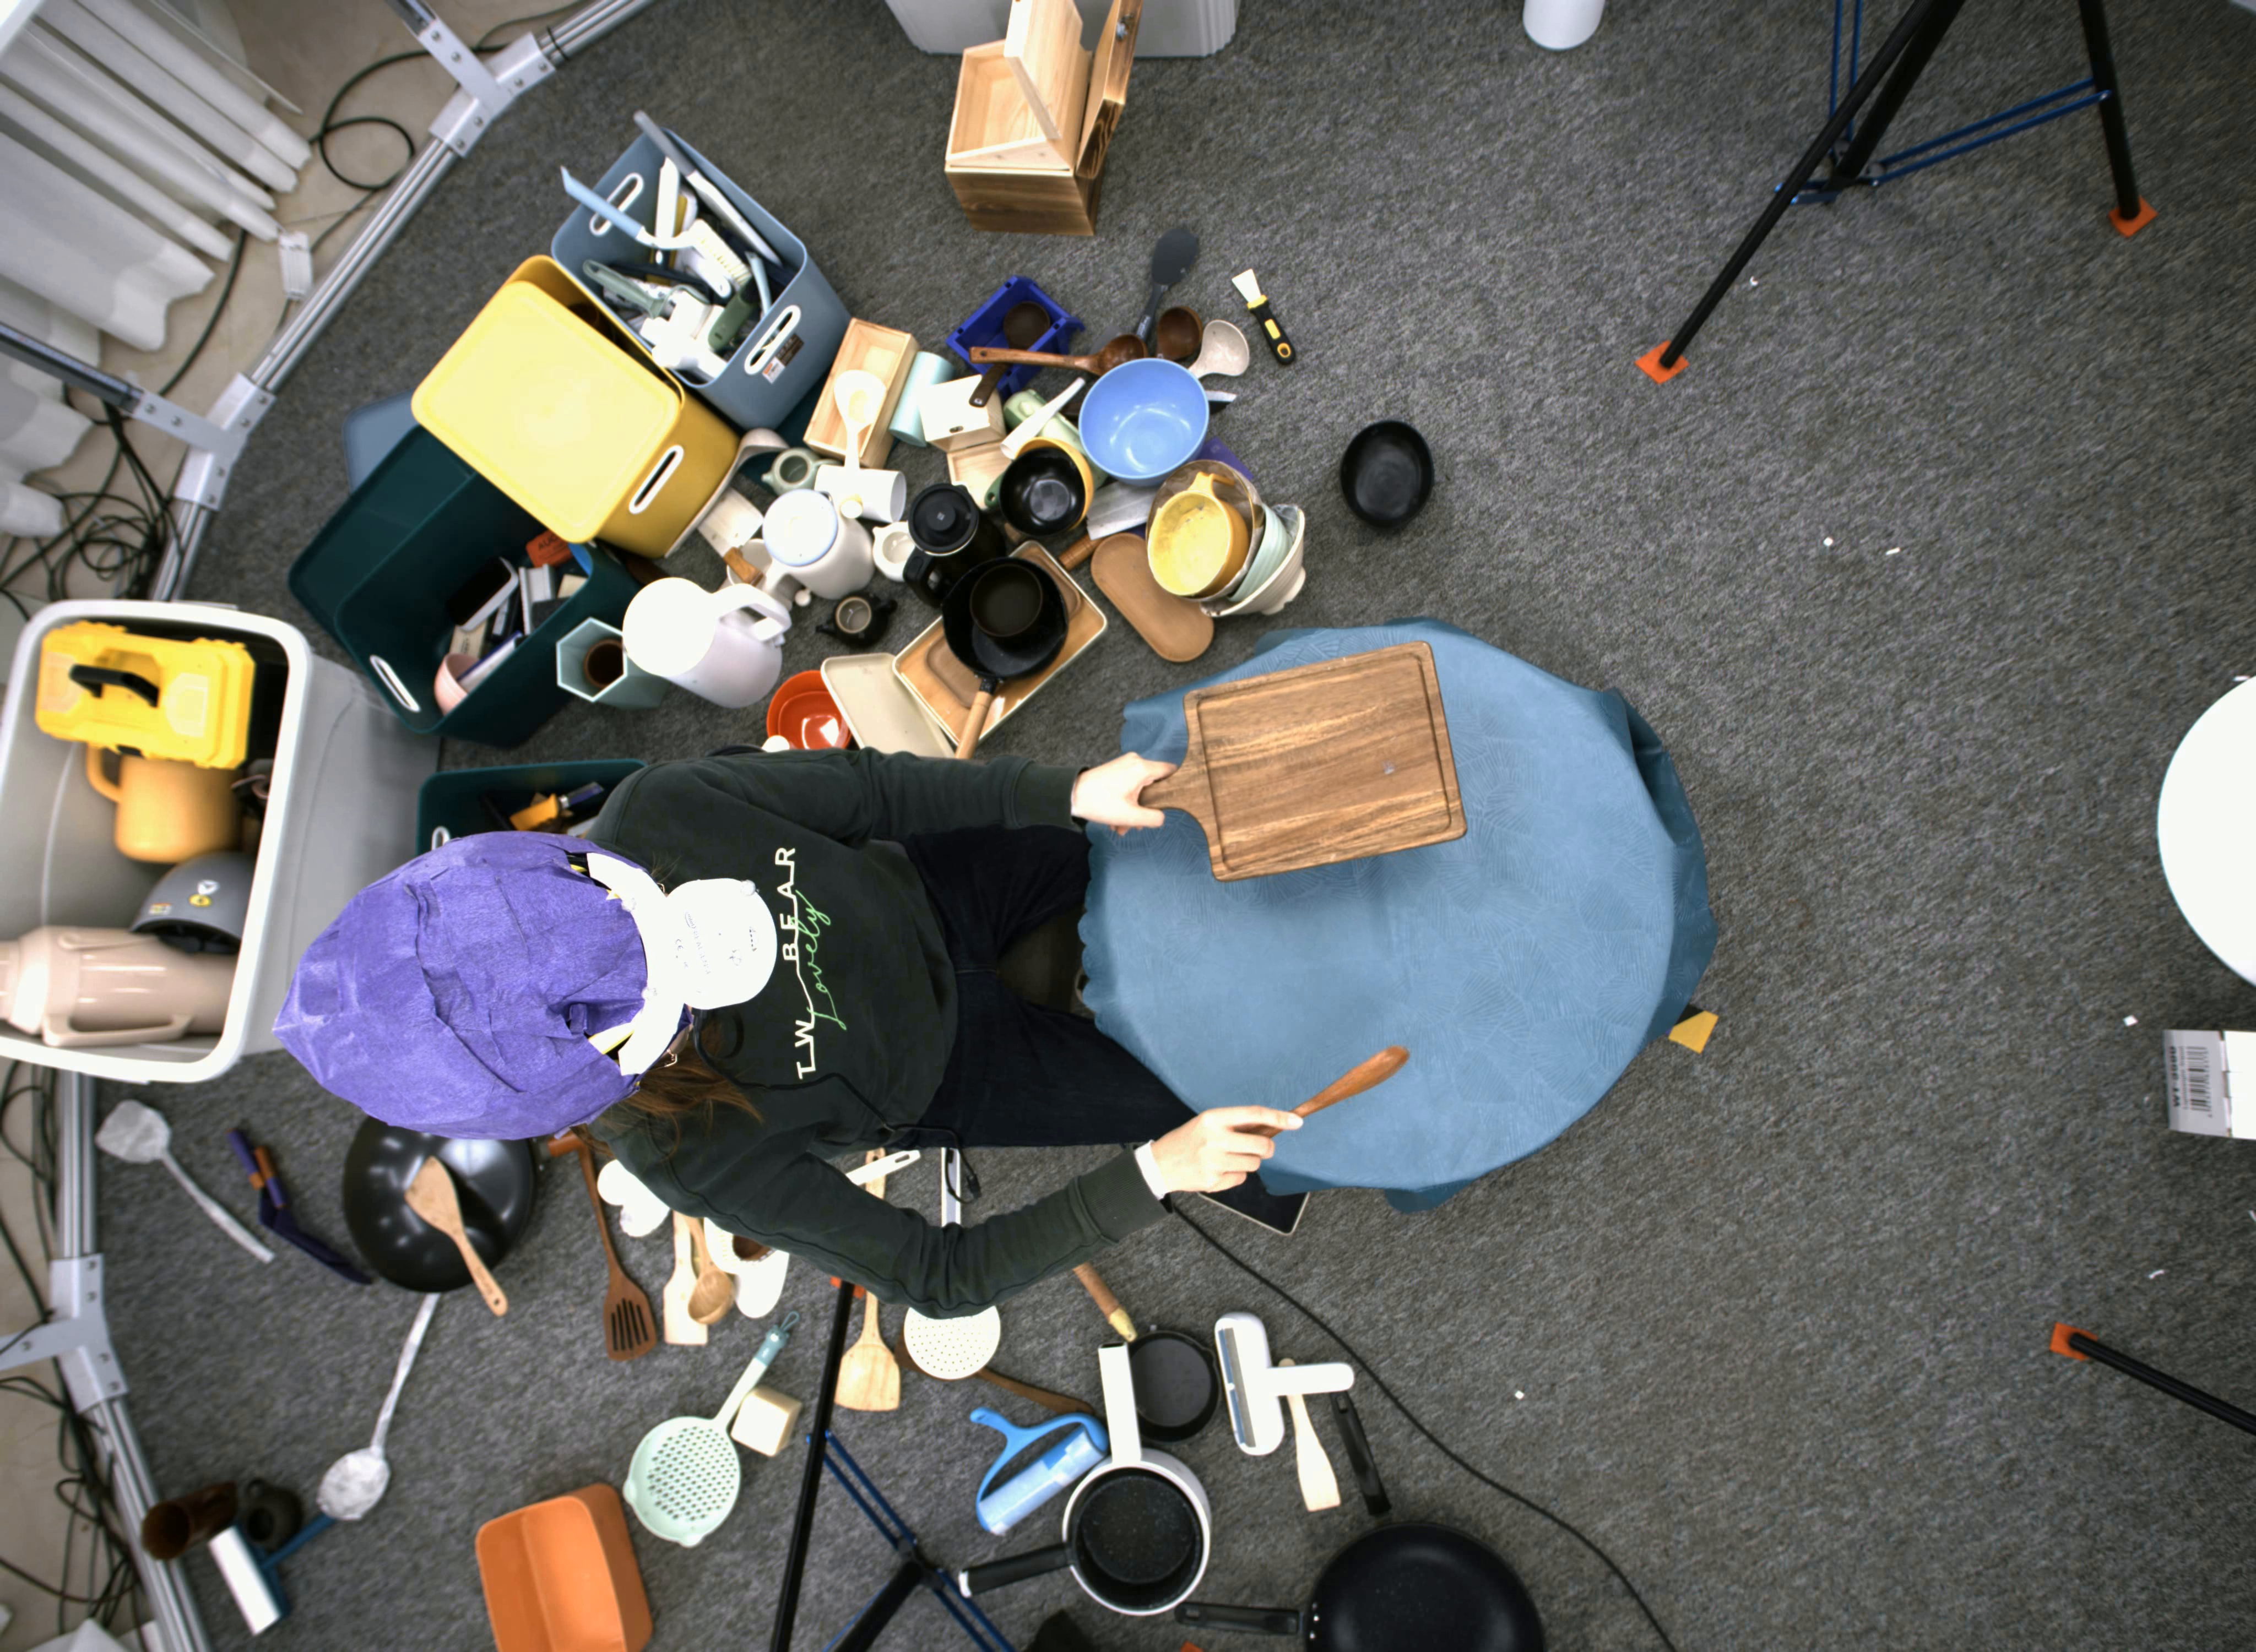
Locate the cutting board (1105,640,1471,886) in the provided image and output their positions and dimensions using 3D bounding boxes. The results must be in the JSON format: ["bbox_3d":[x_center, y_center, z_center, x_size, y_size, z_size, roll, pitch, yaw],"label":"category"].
[{"bbox_3d":[0.146,-0.051,1.368,0.355,0.023,0.200,-11,87,16],"label":"cutting board"}]

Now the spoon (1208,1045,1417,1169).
[{"bbox_3d":[0.171,0.256,1.264,0.216,0.076,0.017,-29,72,3],"label":"spoon"}]
